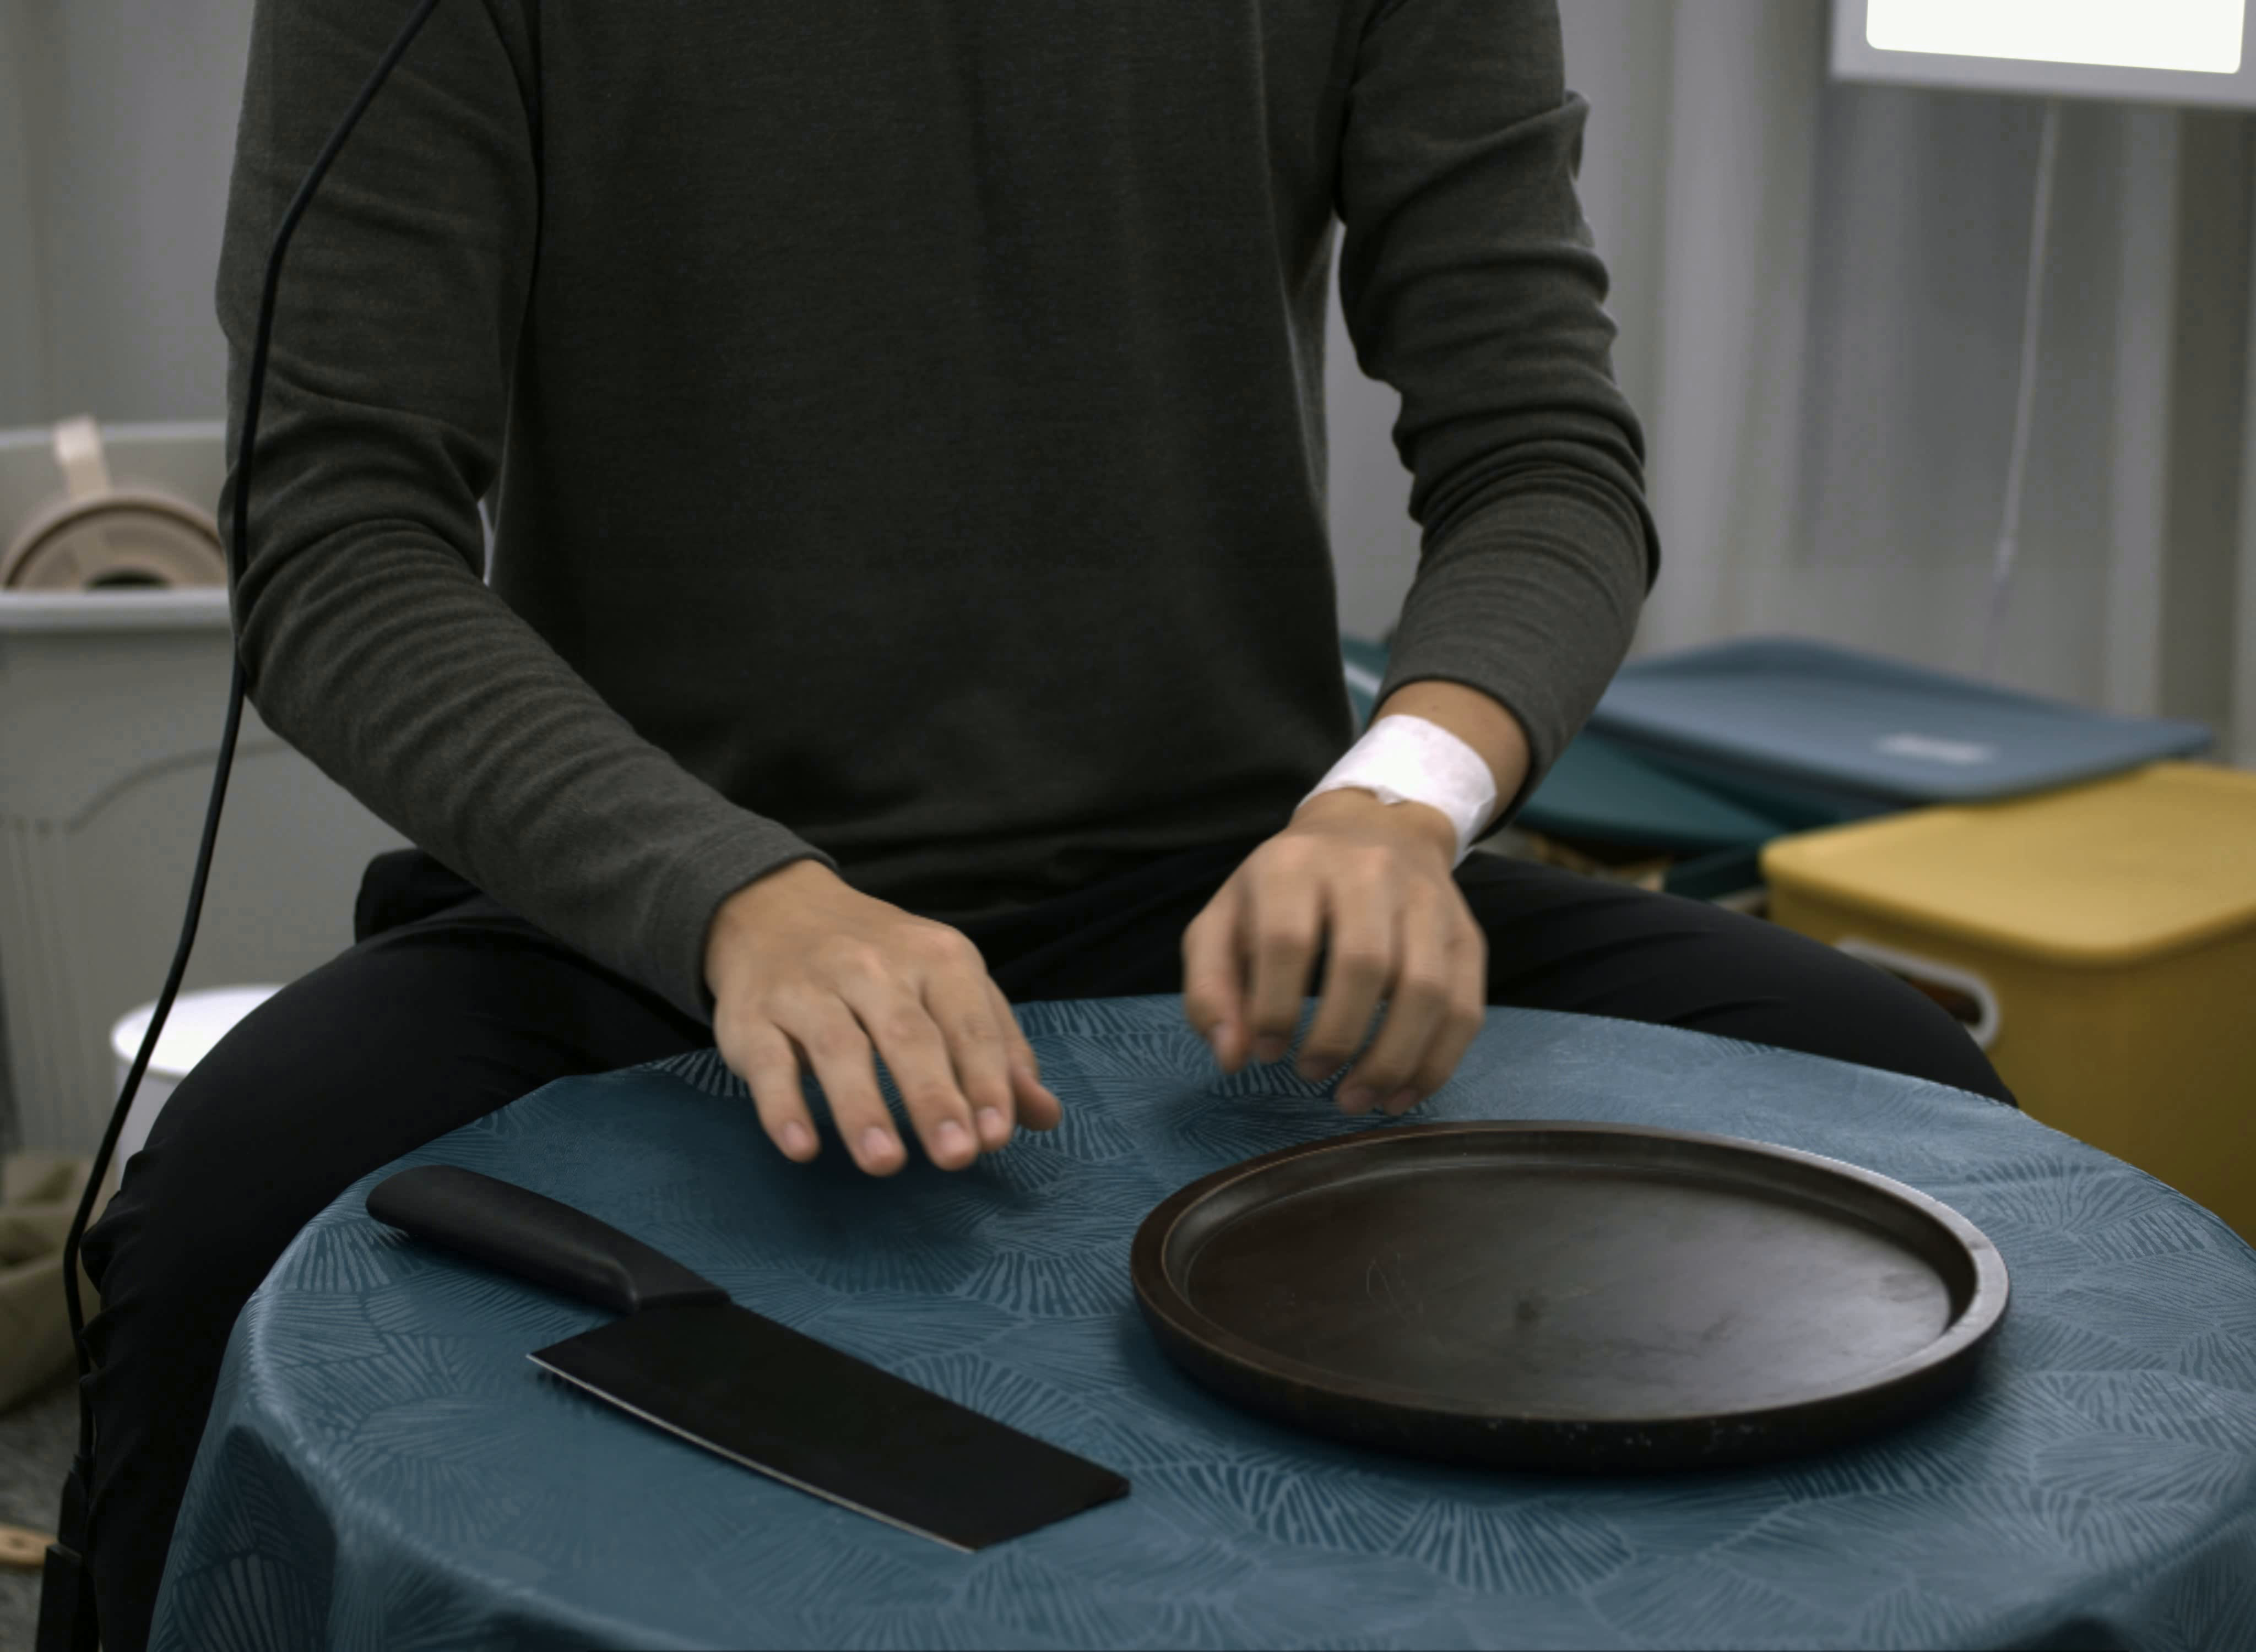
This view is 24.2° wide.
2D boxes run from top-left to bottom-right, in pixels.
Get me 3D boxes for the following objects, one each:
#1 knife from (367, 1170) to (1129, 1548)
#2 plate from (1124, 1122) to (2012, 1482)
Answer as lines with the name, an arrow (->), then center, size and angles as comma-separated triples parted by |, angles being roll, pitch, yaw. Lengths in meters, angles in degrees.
knife -> -0.121, 0.147, 1.471 | 0.081, 0.021, 0.298 | -14, 23, -38
plate -> 0.125, 0.133, 1.510 | 0.254, 0.029, 0.253 | 1, 16, 0
